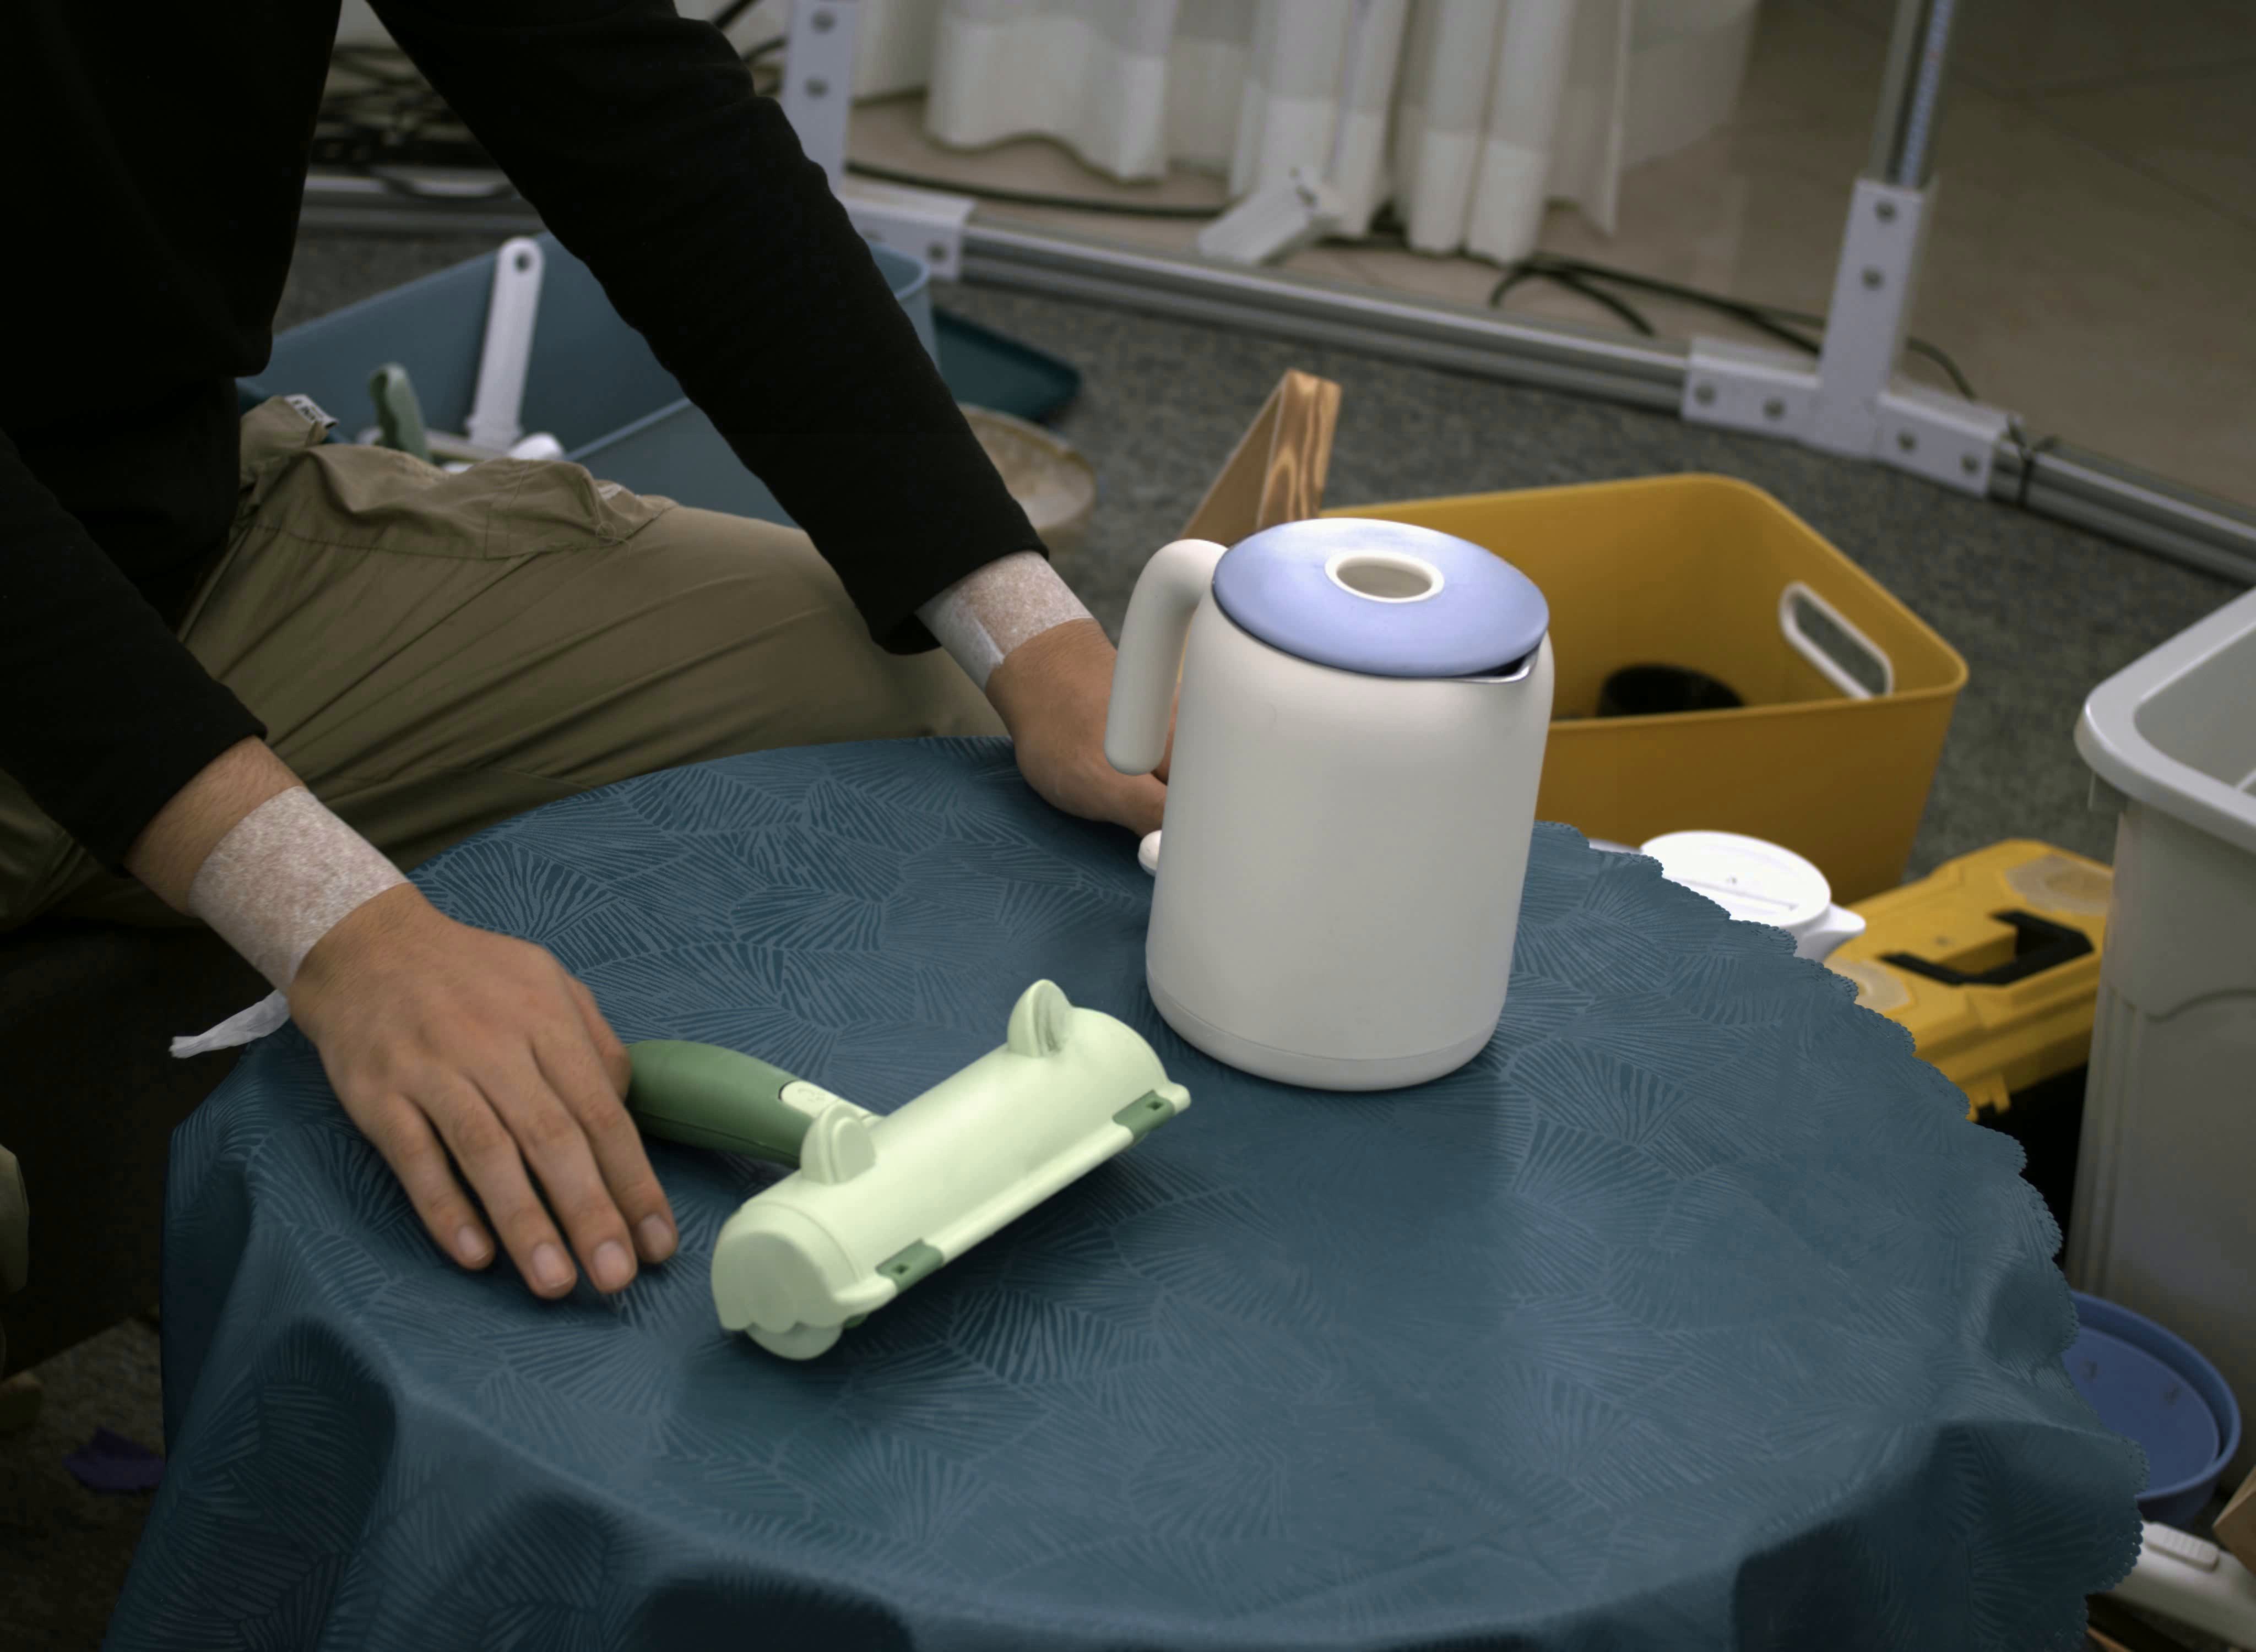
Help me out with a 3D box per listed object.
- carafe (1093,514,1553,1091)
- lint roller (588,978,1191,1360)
[{"bbox_3d":[0.062,-0.018,1.905,0.192,0.182,0.131,26,32,38],"label":"carafe"},{"bbox_3d":[-0.103,0.089,1.763,0.184,0.082,0.198,24,30,26],"label":"lint roller"}]
